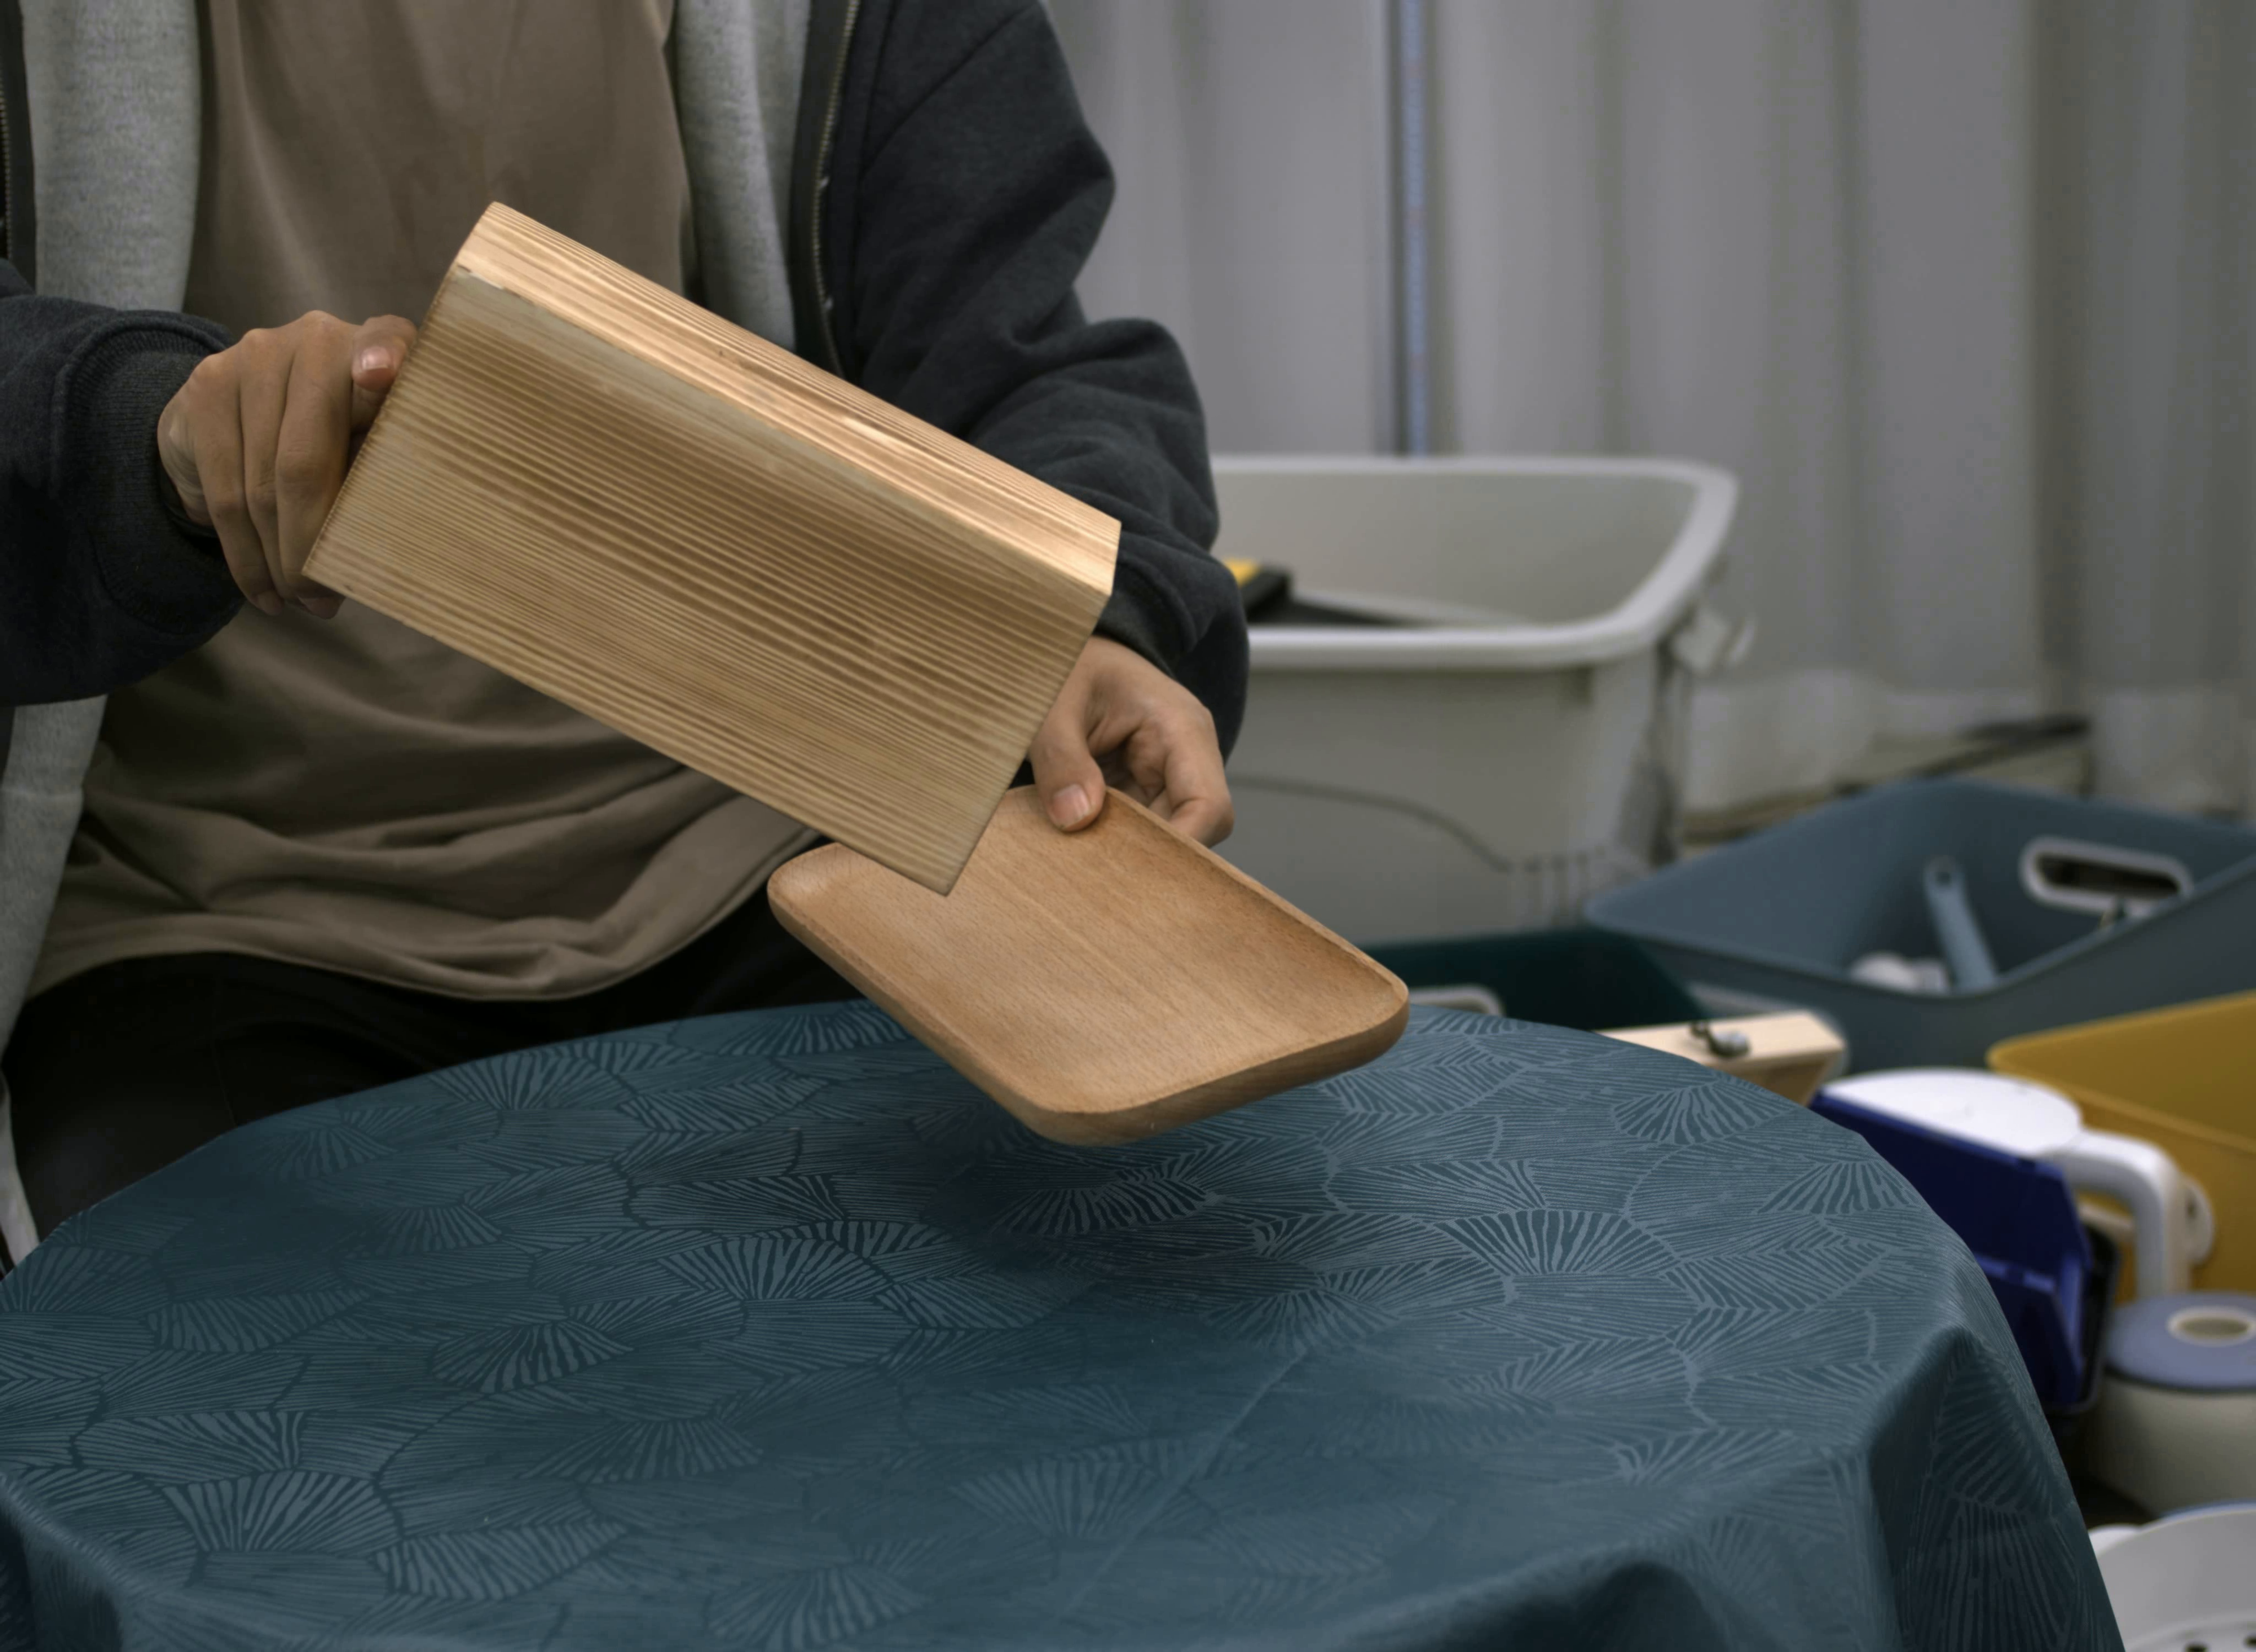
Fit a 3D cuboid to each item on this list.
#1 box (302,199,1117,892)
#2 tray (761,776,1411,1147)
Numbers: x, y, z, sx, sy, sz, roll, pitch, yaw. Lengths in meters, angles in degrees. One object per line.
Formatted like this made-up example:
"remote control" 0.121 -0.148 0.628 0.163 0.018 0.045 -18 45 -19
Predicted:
"box" -0.121 -0.083 1.614 0.210 0.107 0.081 27 17 -6
"tray" -0.017 0.039 1.698 0.130 0.023 0.253 -14 22 -21
